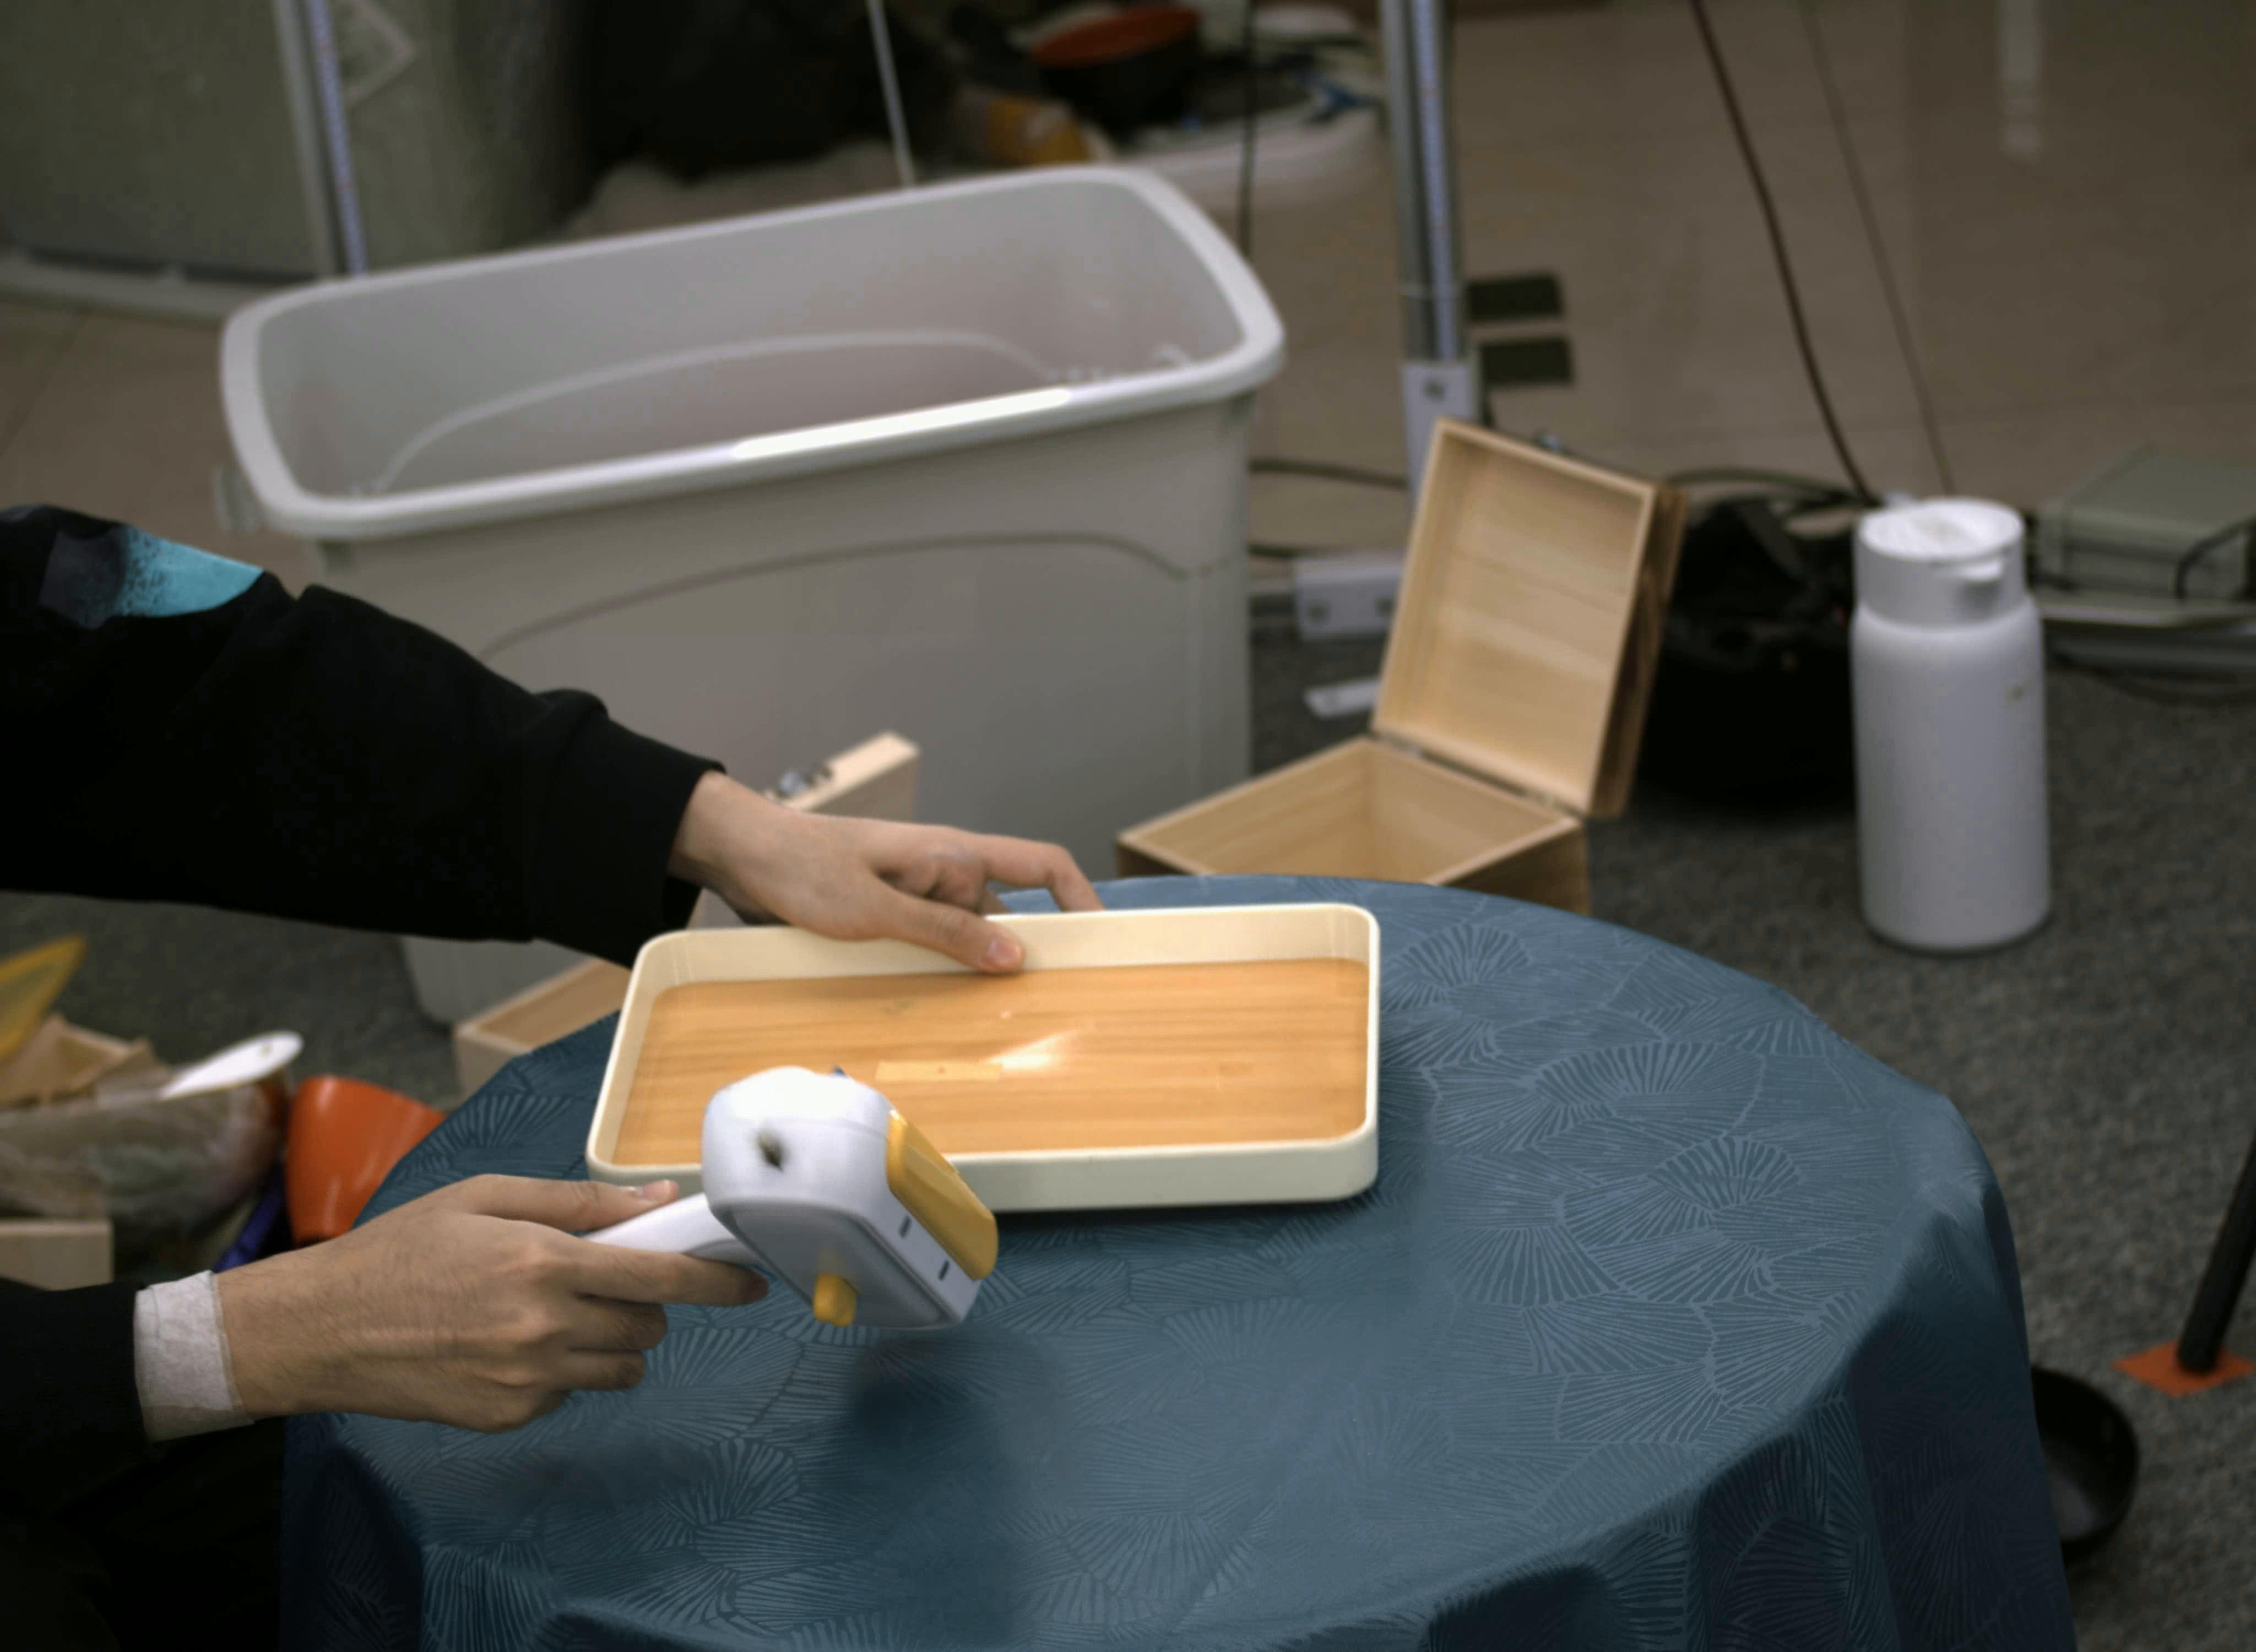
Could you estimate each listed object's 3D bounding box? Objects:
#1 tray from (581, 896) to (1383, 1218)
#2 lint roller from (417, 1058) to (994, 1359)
[{"bbox_3d":[-0.052,0.088,2.192,0.300,0.028,0.188,-2,28,5],"label":"tray"},{"bbox_3d":[-0.157,0.143,1.976,0.192,0.073,0.194,-9,-18,14],"label":"lint roller"}]
